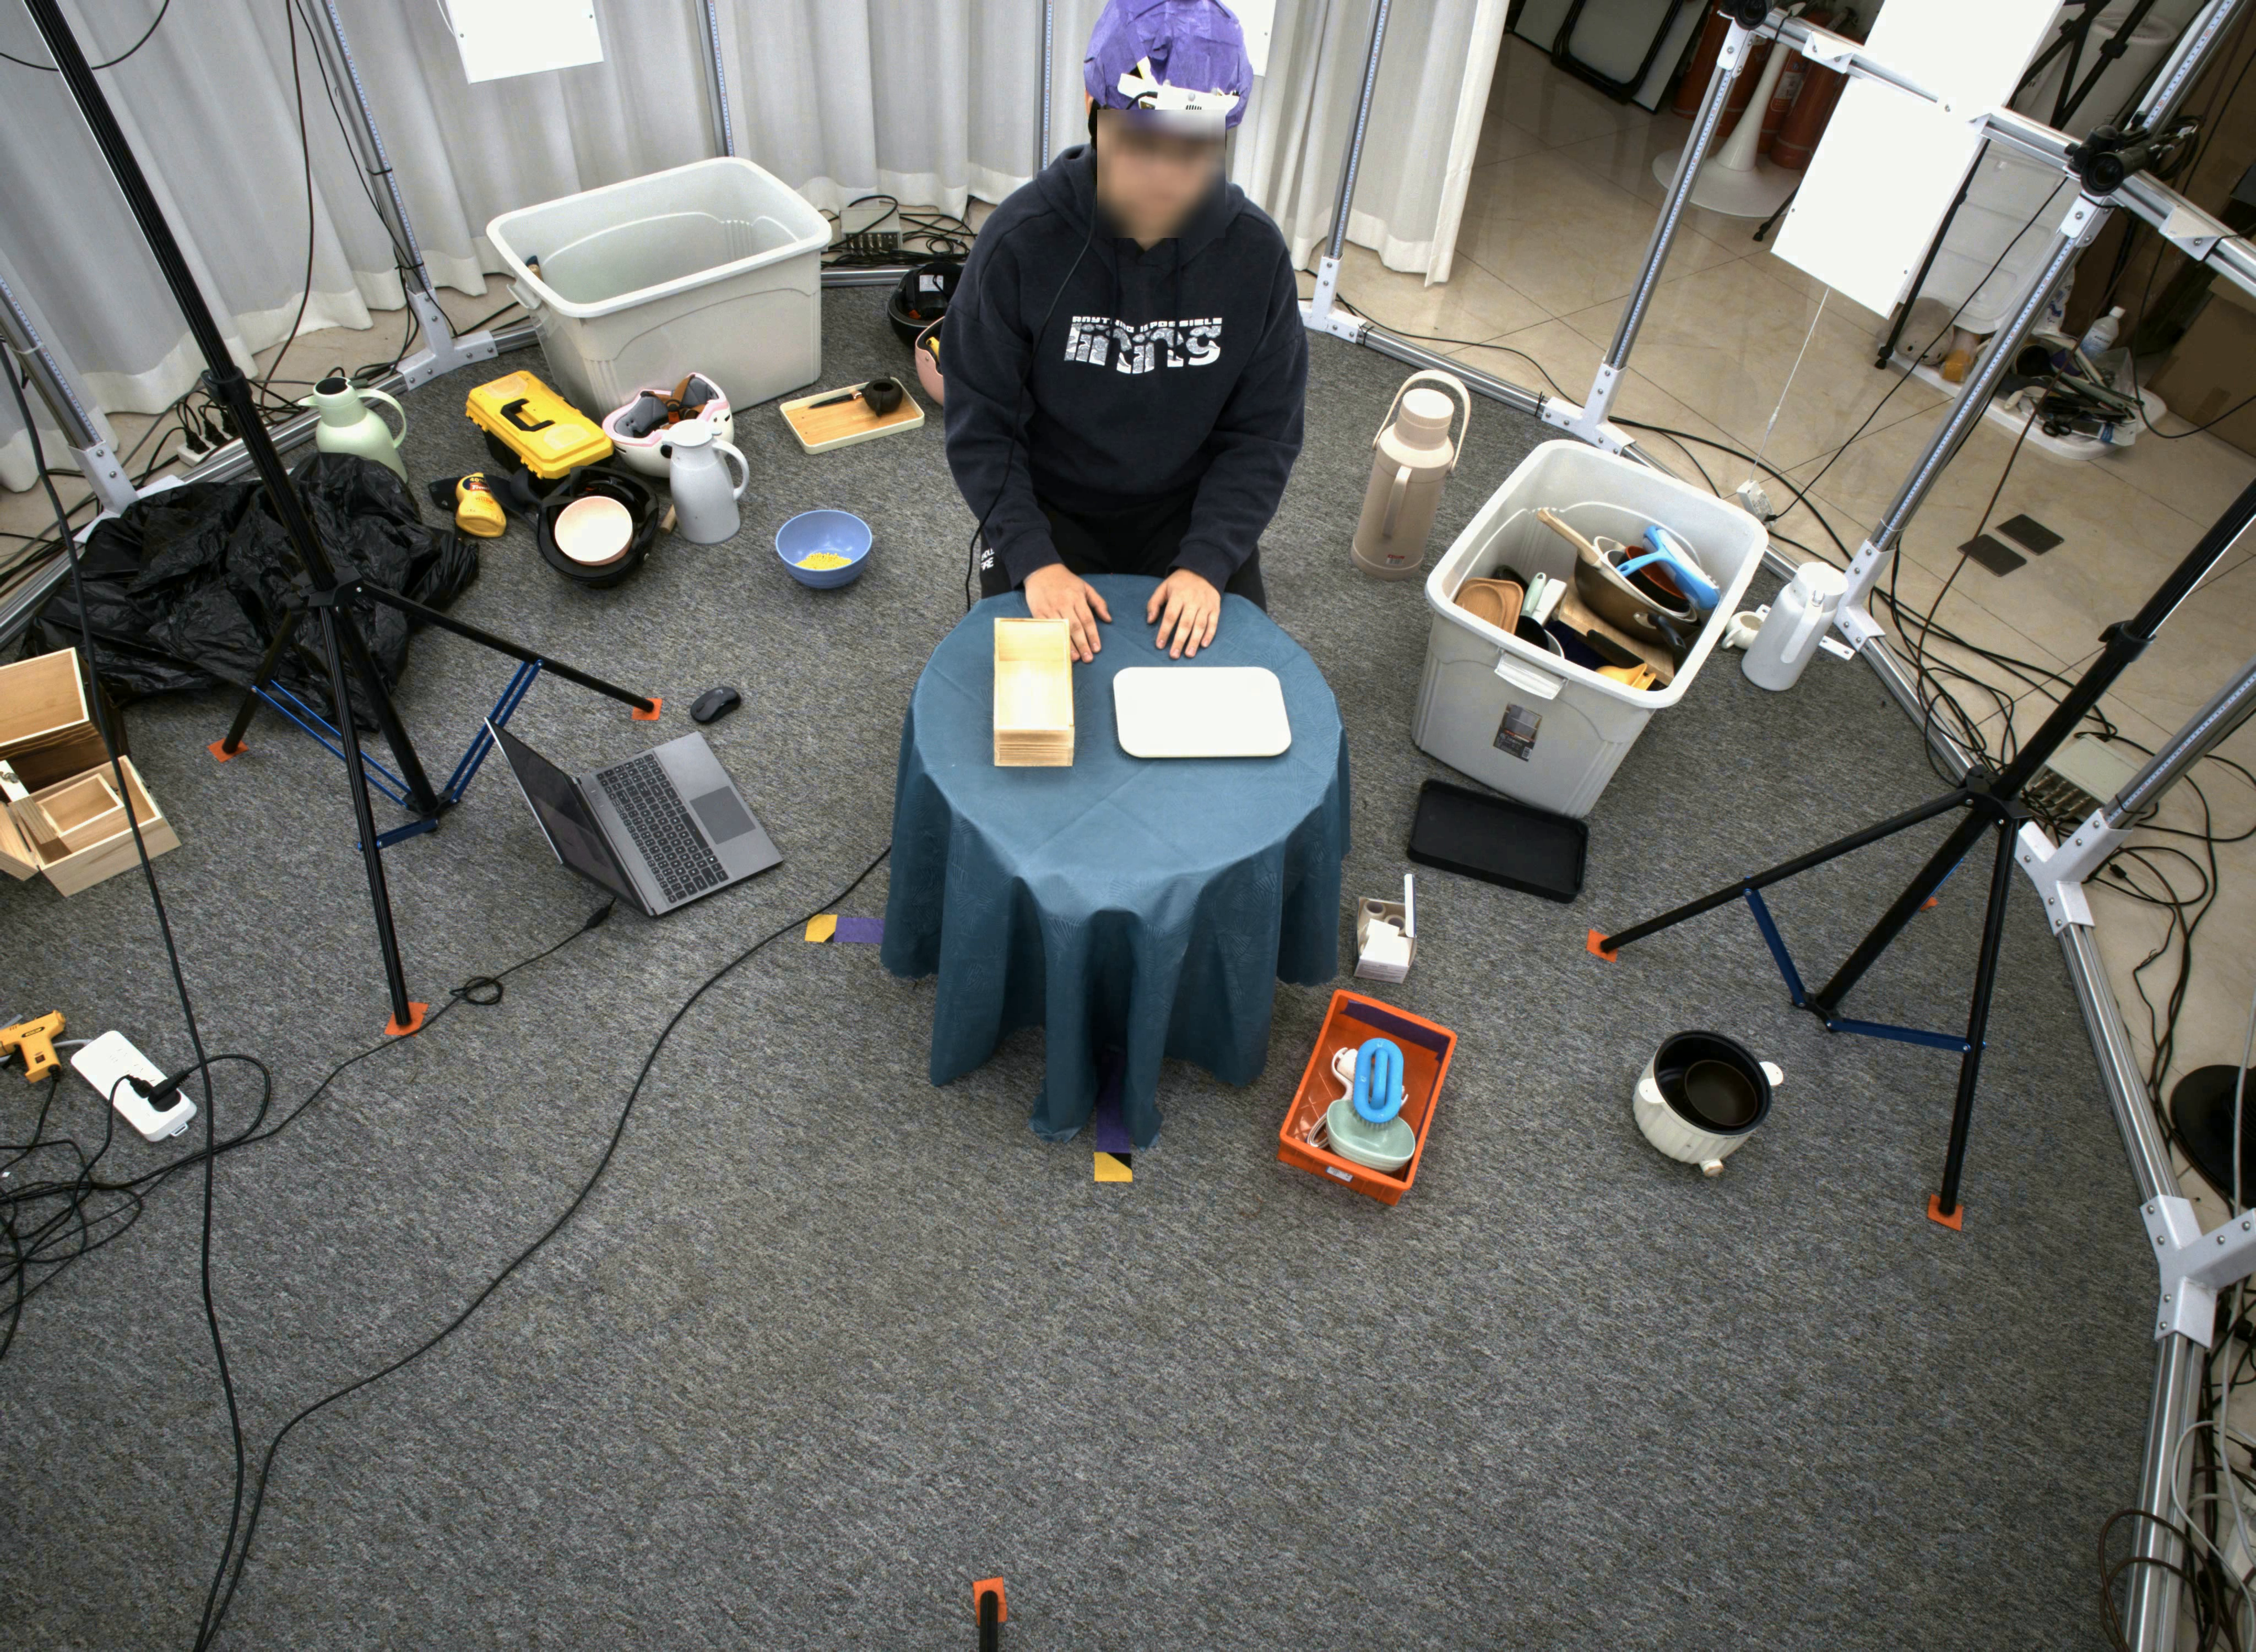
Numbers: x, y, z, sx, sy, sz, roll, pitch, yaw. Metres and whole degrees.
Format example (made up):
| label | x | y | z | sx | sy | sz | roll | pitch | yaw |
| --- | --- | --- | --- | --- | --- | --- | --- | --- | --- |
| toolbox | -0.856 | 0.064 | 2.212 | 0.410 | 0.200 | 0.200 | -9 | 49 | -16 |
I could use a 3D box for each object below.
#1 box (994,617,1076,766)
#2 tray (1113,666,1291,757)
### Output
| label | x | y | z | sx | sy | sz | roll | pitch | yaw |
| --- | --- | --- | --- | --- | --- | --- | --- | --- | --- |
| box | -0.130 | -0.187 | 1.766 | 0.107 | 0.078 | 0.217 | 0 | 49 | -5 |
| tray | 0.102 | -0.160 | 1.801 | 0.239 | 0.017 | 0.175 | -1 | 48 | -5 |
